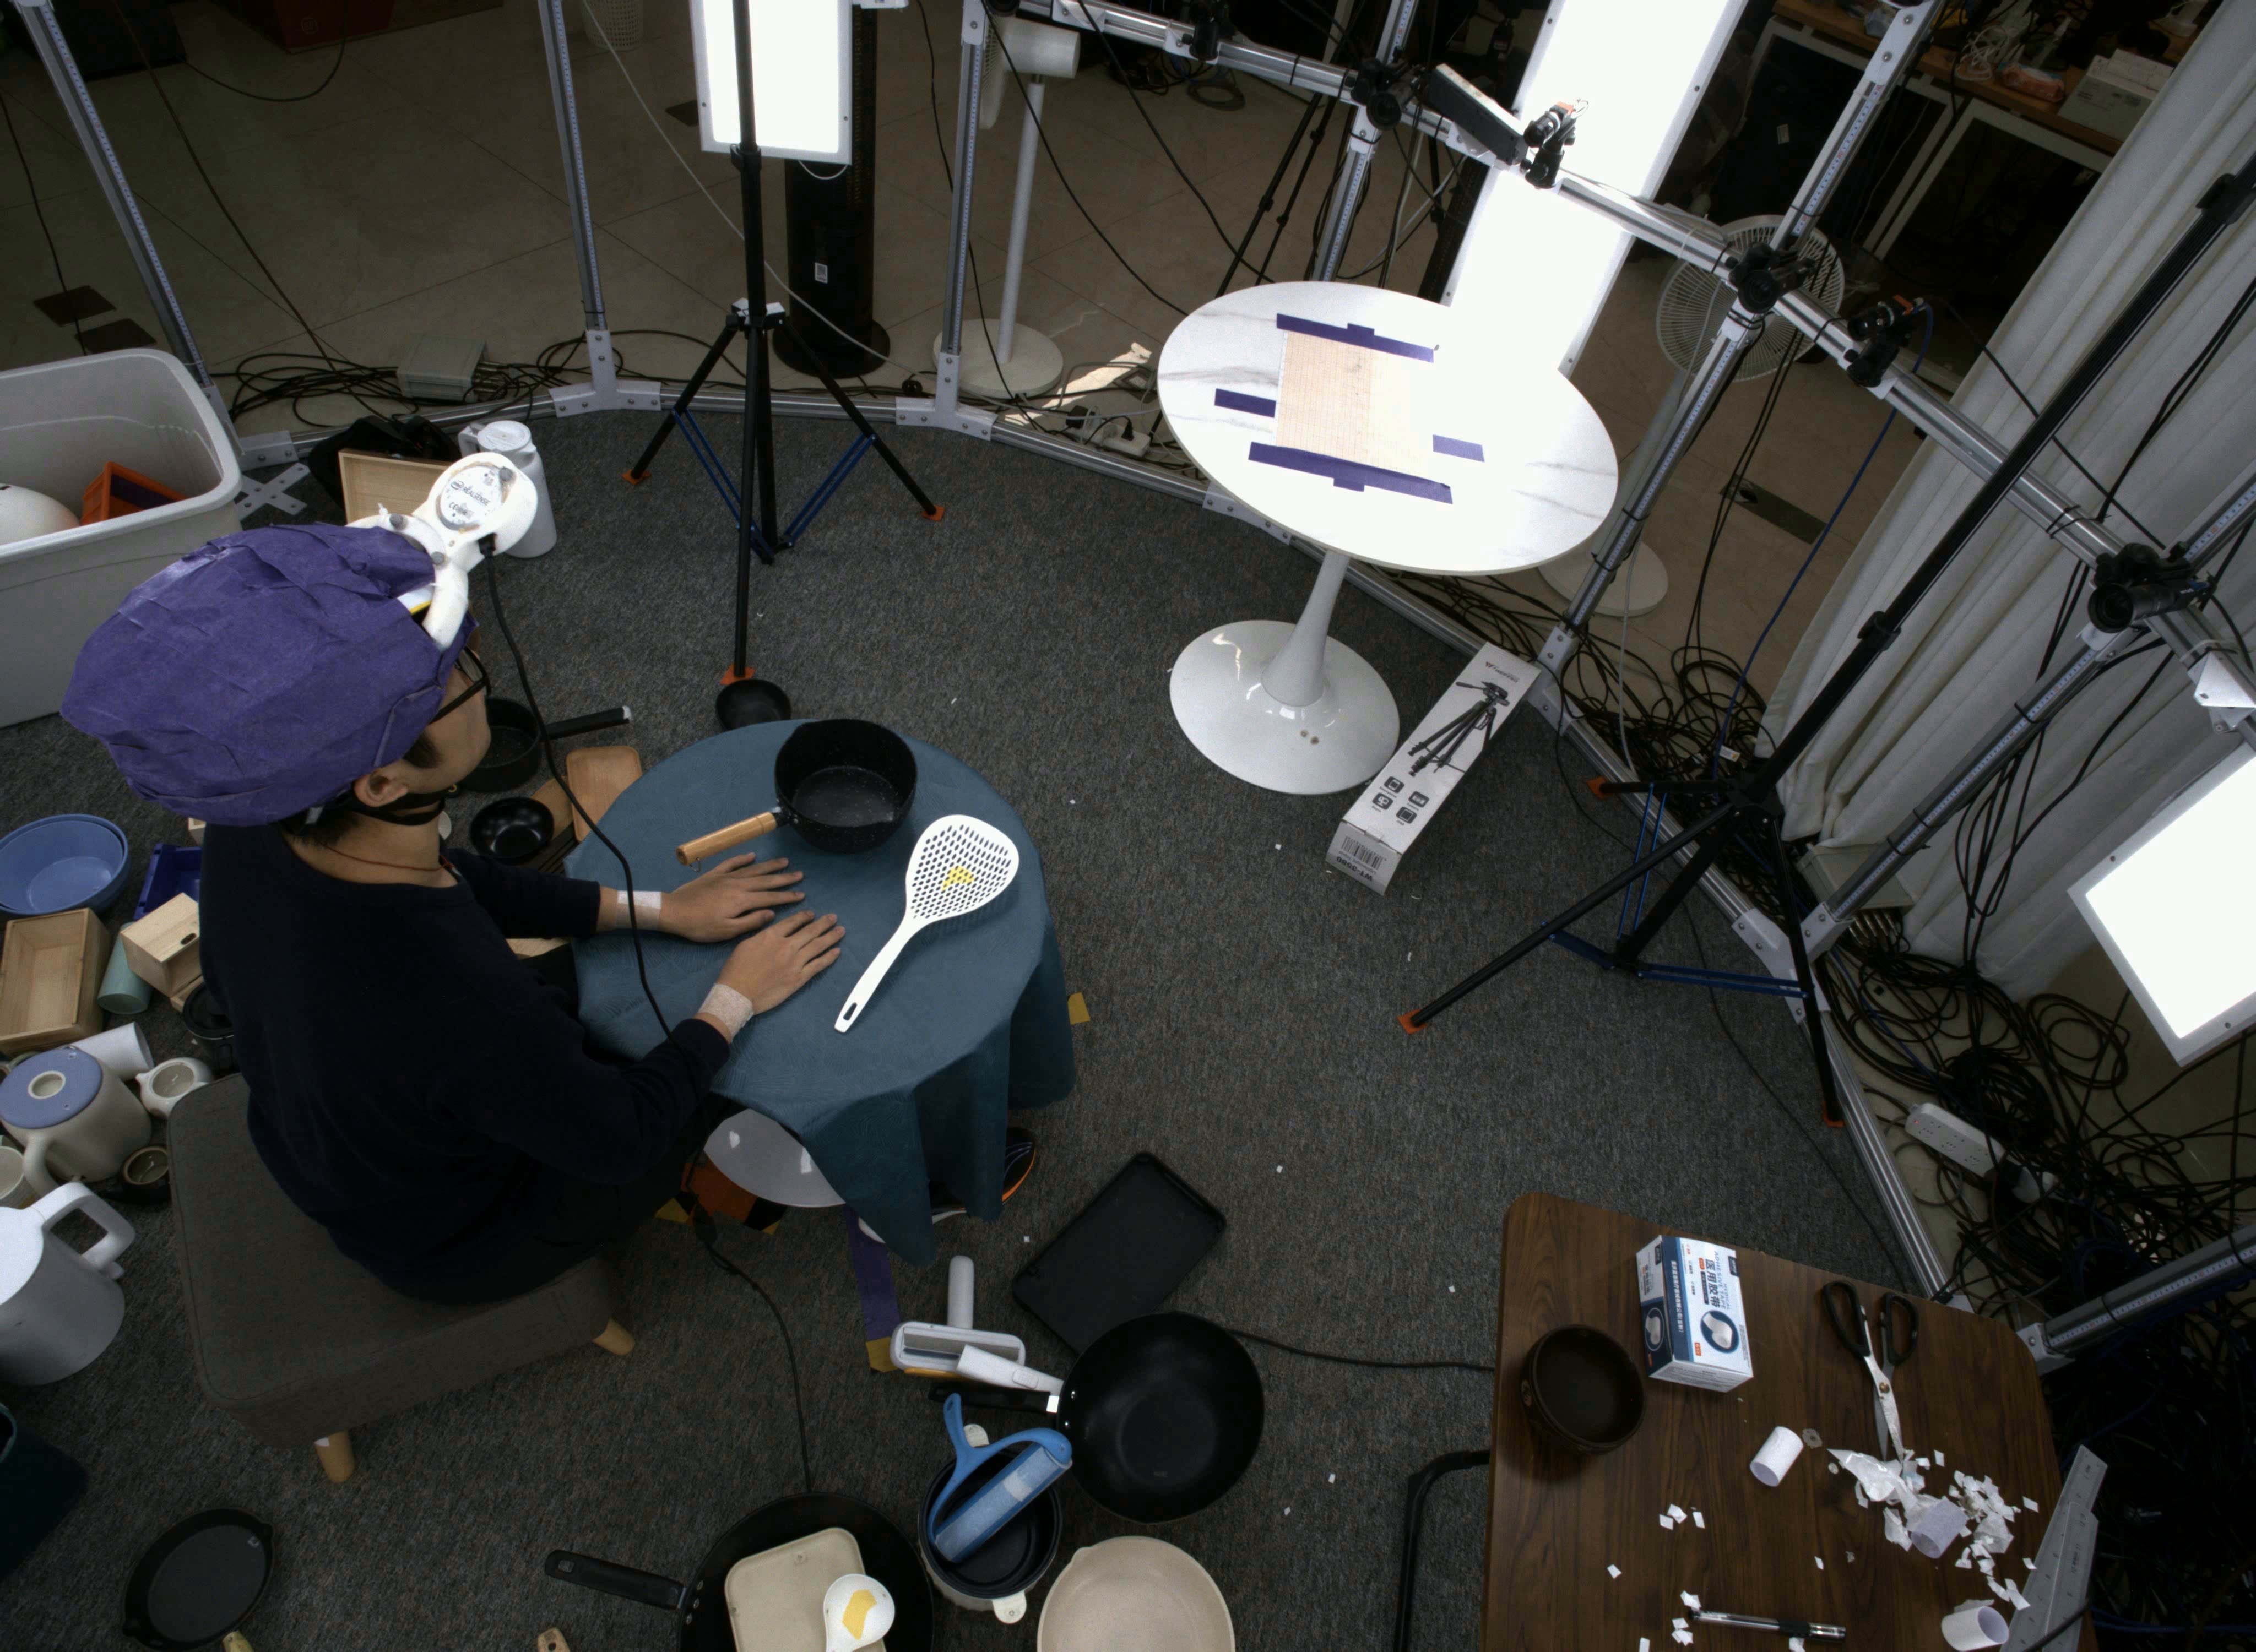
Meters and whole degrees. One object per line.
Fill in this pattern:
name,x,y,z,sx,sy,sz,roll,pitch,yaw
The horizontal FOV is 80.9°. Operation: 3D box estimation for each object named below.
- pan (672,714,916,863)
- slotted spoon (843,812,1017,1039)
pan,-0.426,-0.017,1.657,0.203,0.110,0.344,42,54,17
slotted spoon,-0.264,0.120,1.639,0.135,0.051,0.346,29,50,5
